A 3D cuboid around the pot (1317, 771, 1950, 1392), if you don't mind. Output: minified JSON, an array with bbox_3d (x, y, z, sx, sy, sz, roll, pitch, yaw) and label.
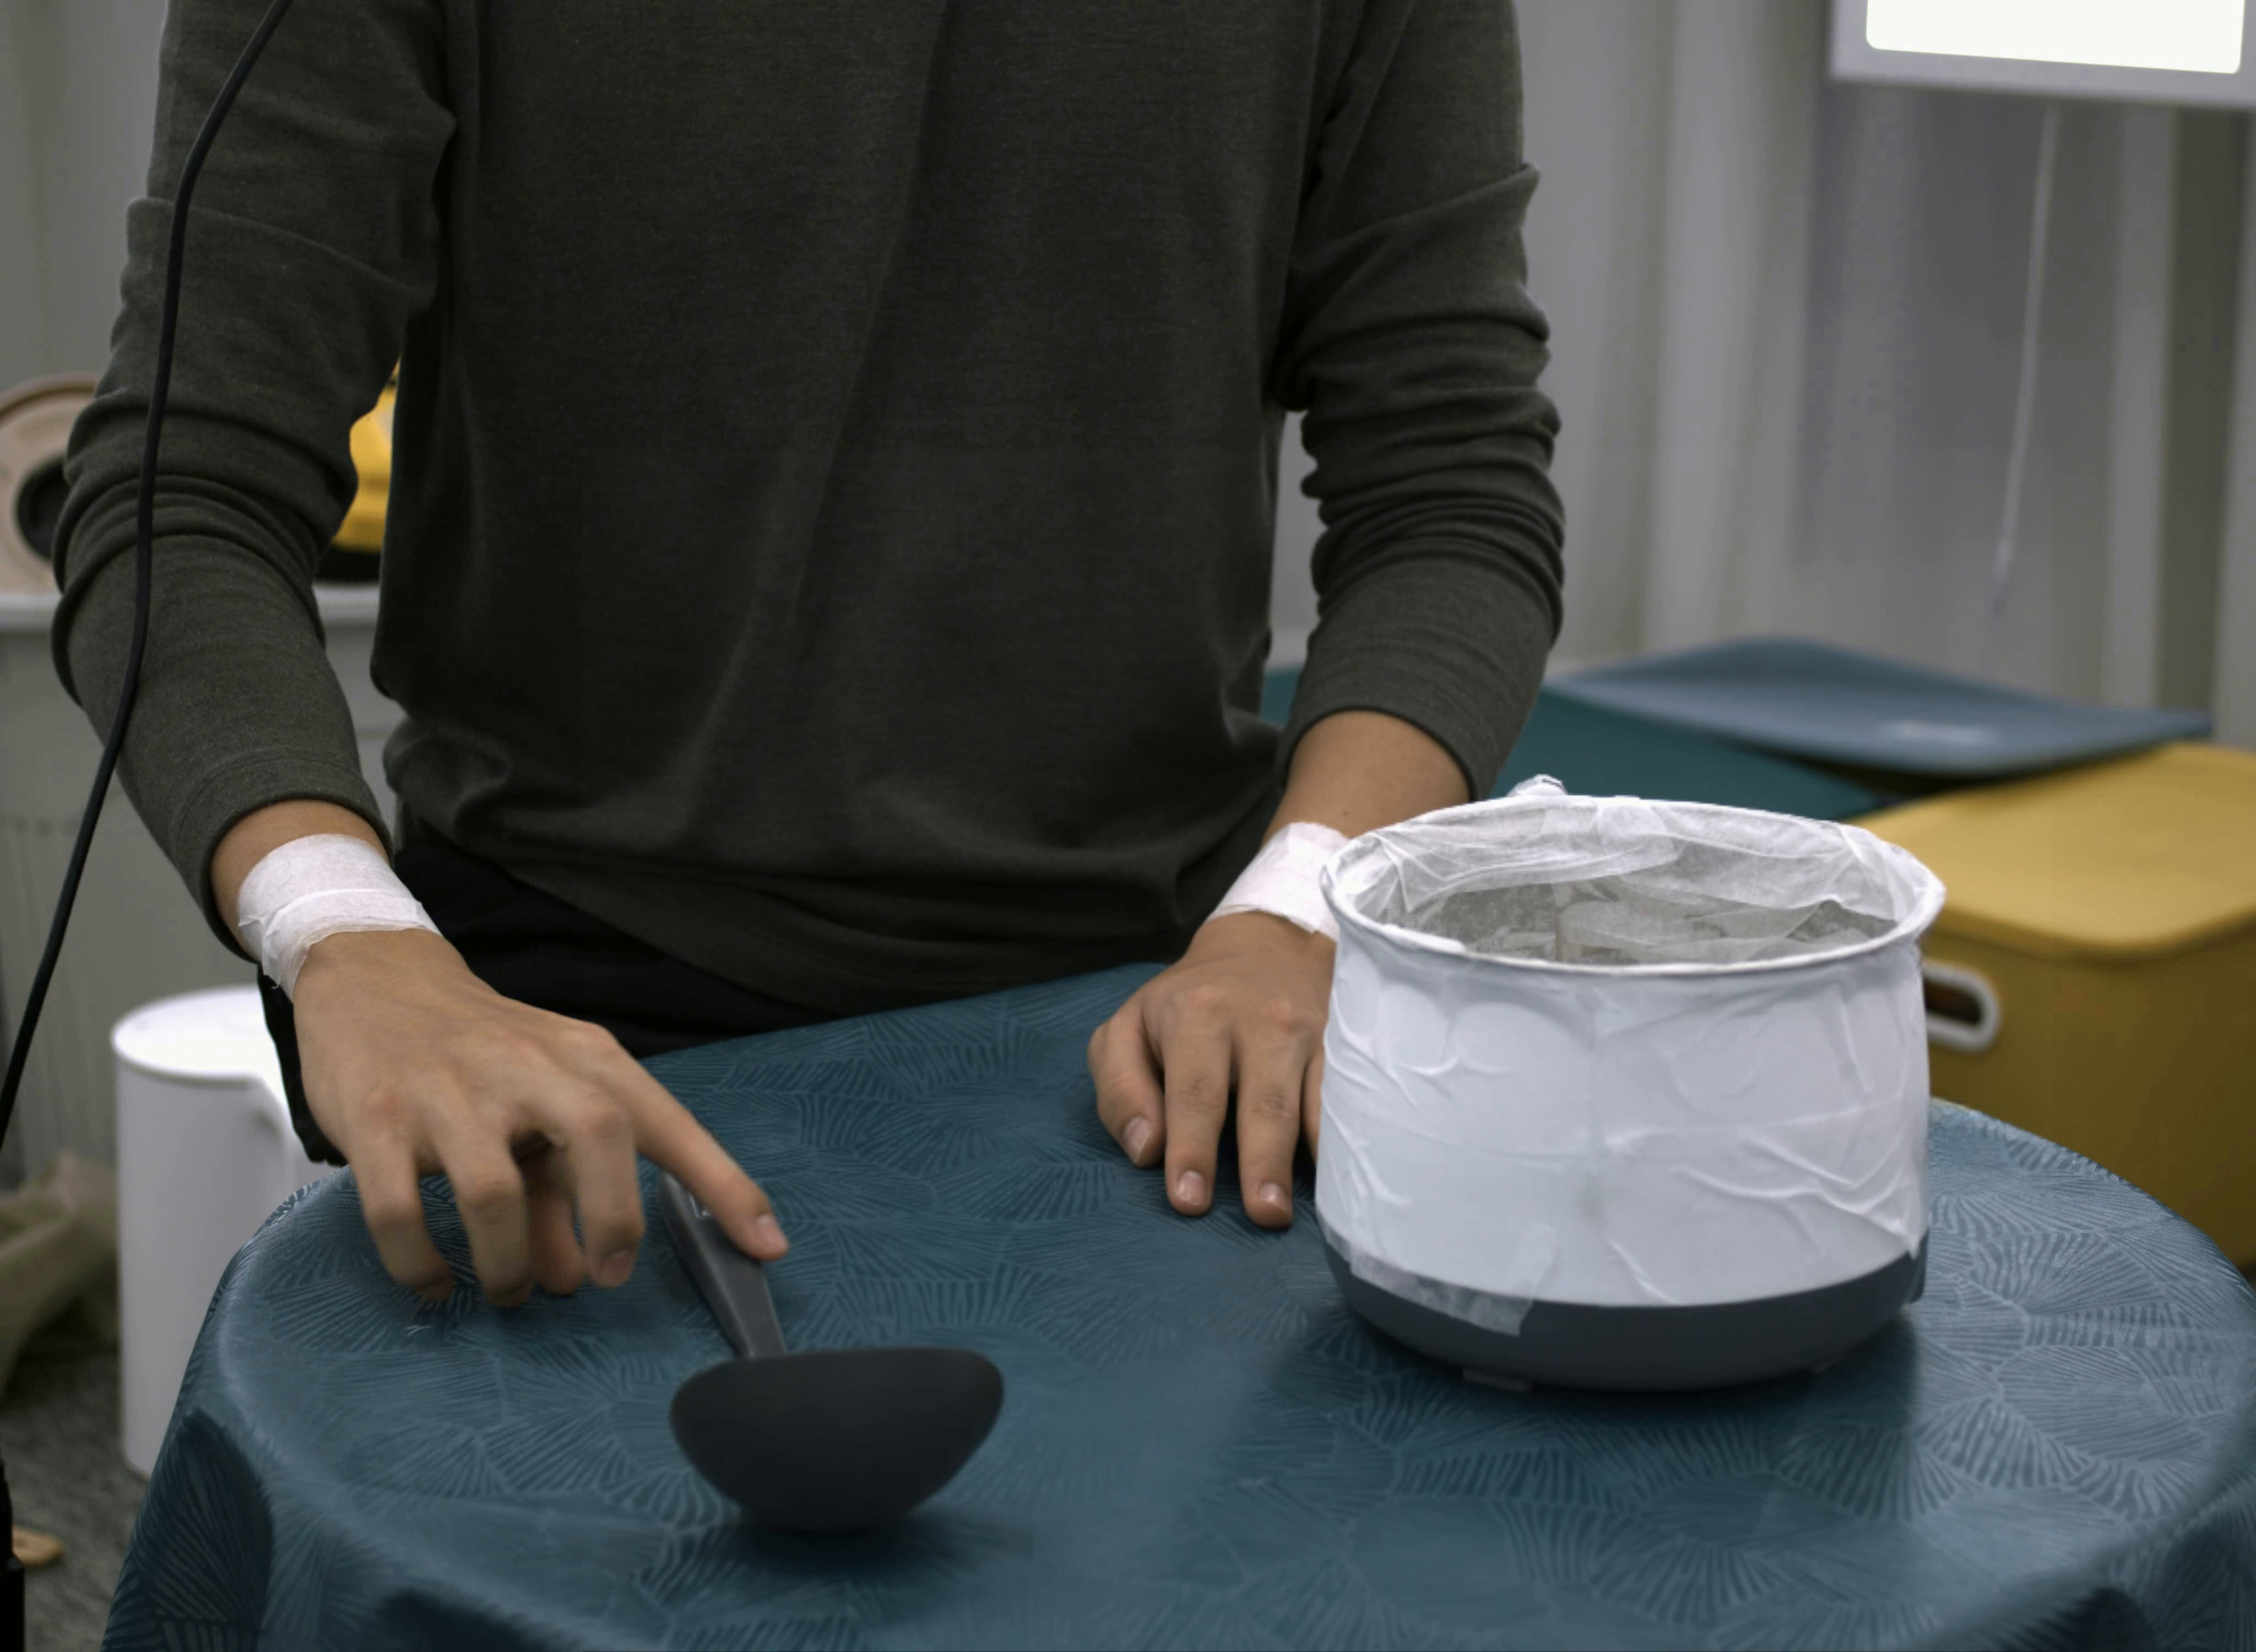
[{"bbox_3d":[0.137,0.068,1.530,0.179,0.138,0.231,-3,16,-11],"label":"pot"}]

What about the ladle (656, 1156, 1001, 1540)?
[{"bbox_3d":[-0.102,0.123,1.462,0.086,0.064,0.311,3,14,-13],"label":"ladle"}]
